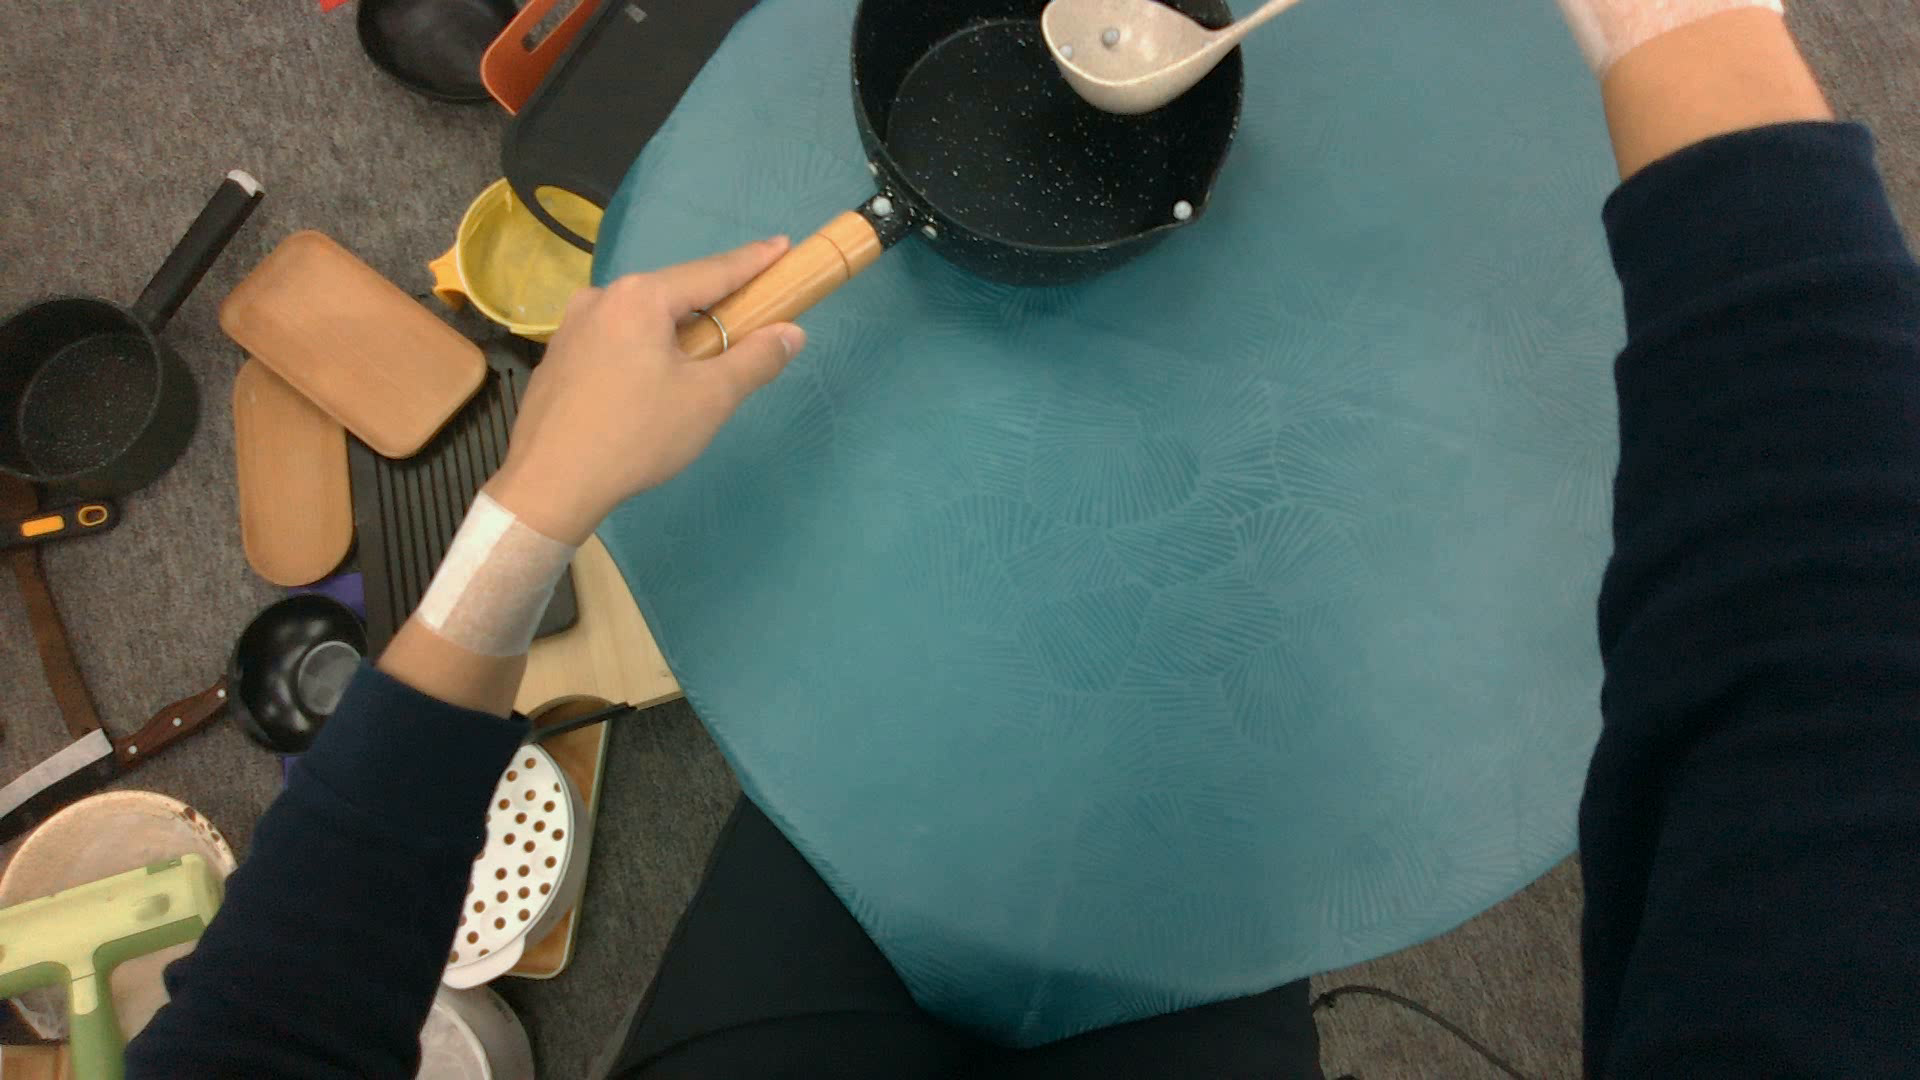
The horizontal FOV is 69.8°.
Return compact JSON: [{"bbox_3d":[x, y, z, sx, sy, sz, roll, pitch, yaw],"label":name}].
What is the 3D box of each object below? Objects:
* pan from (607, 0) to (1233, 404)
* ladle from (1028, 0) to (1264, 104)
[{"bbox_3d":[-0.022,-0.165,0.652,0.343,0.108,0.207,-44,86,-14],"label":"pan"},{"bbox_3d":[0.146,-0.266,0.592,0.090,0.274,0.069,-44,110,-41],"label":"ladle"}]
